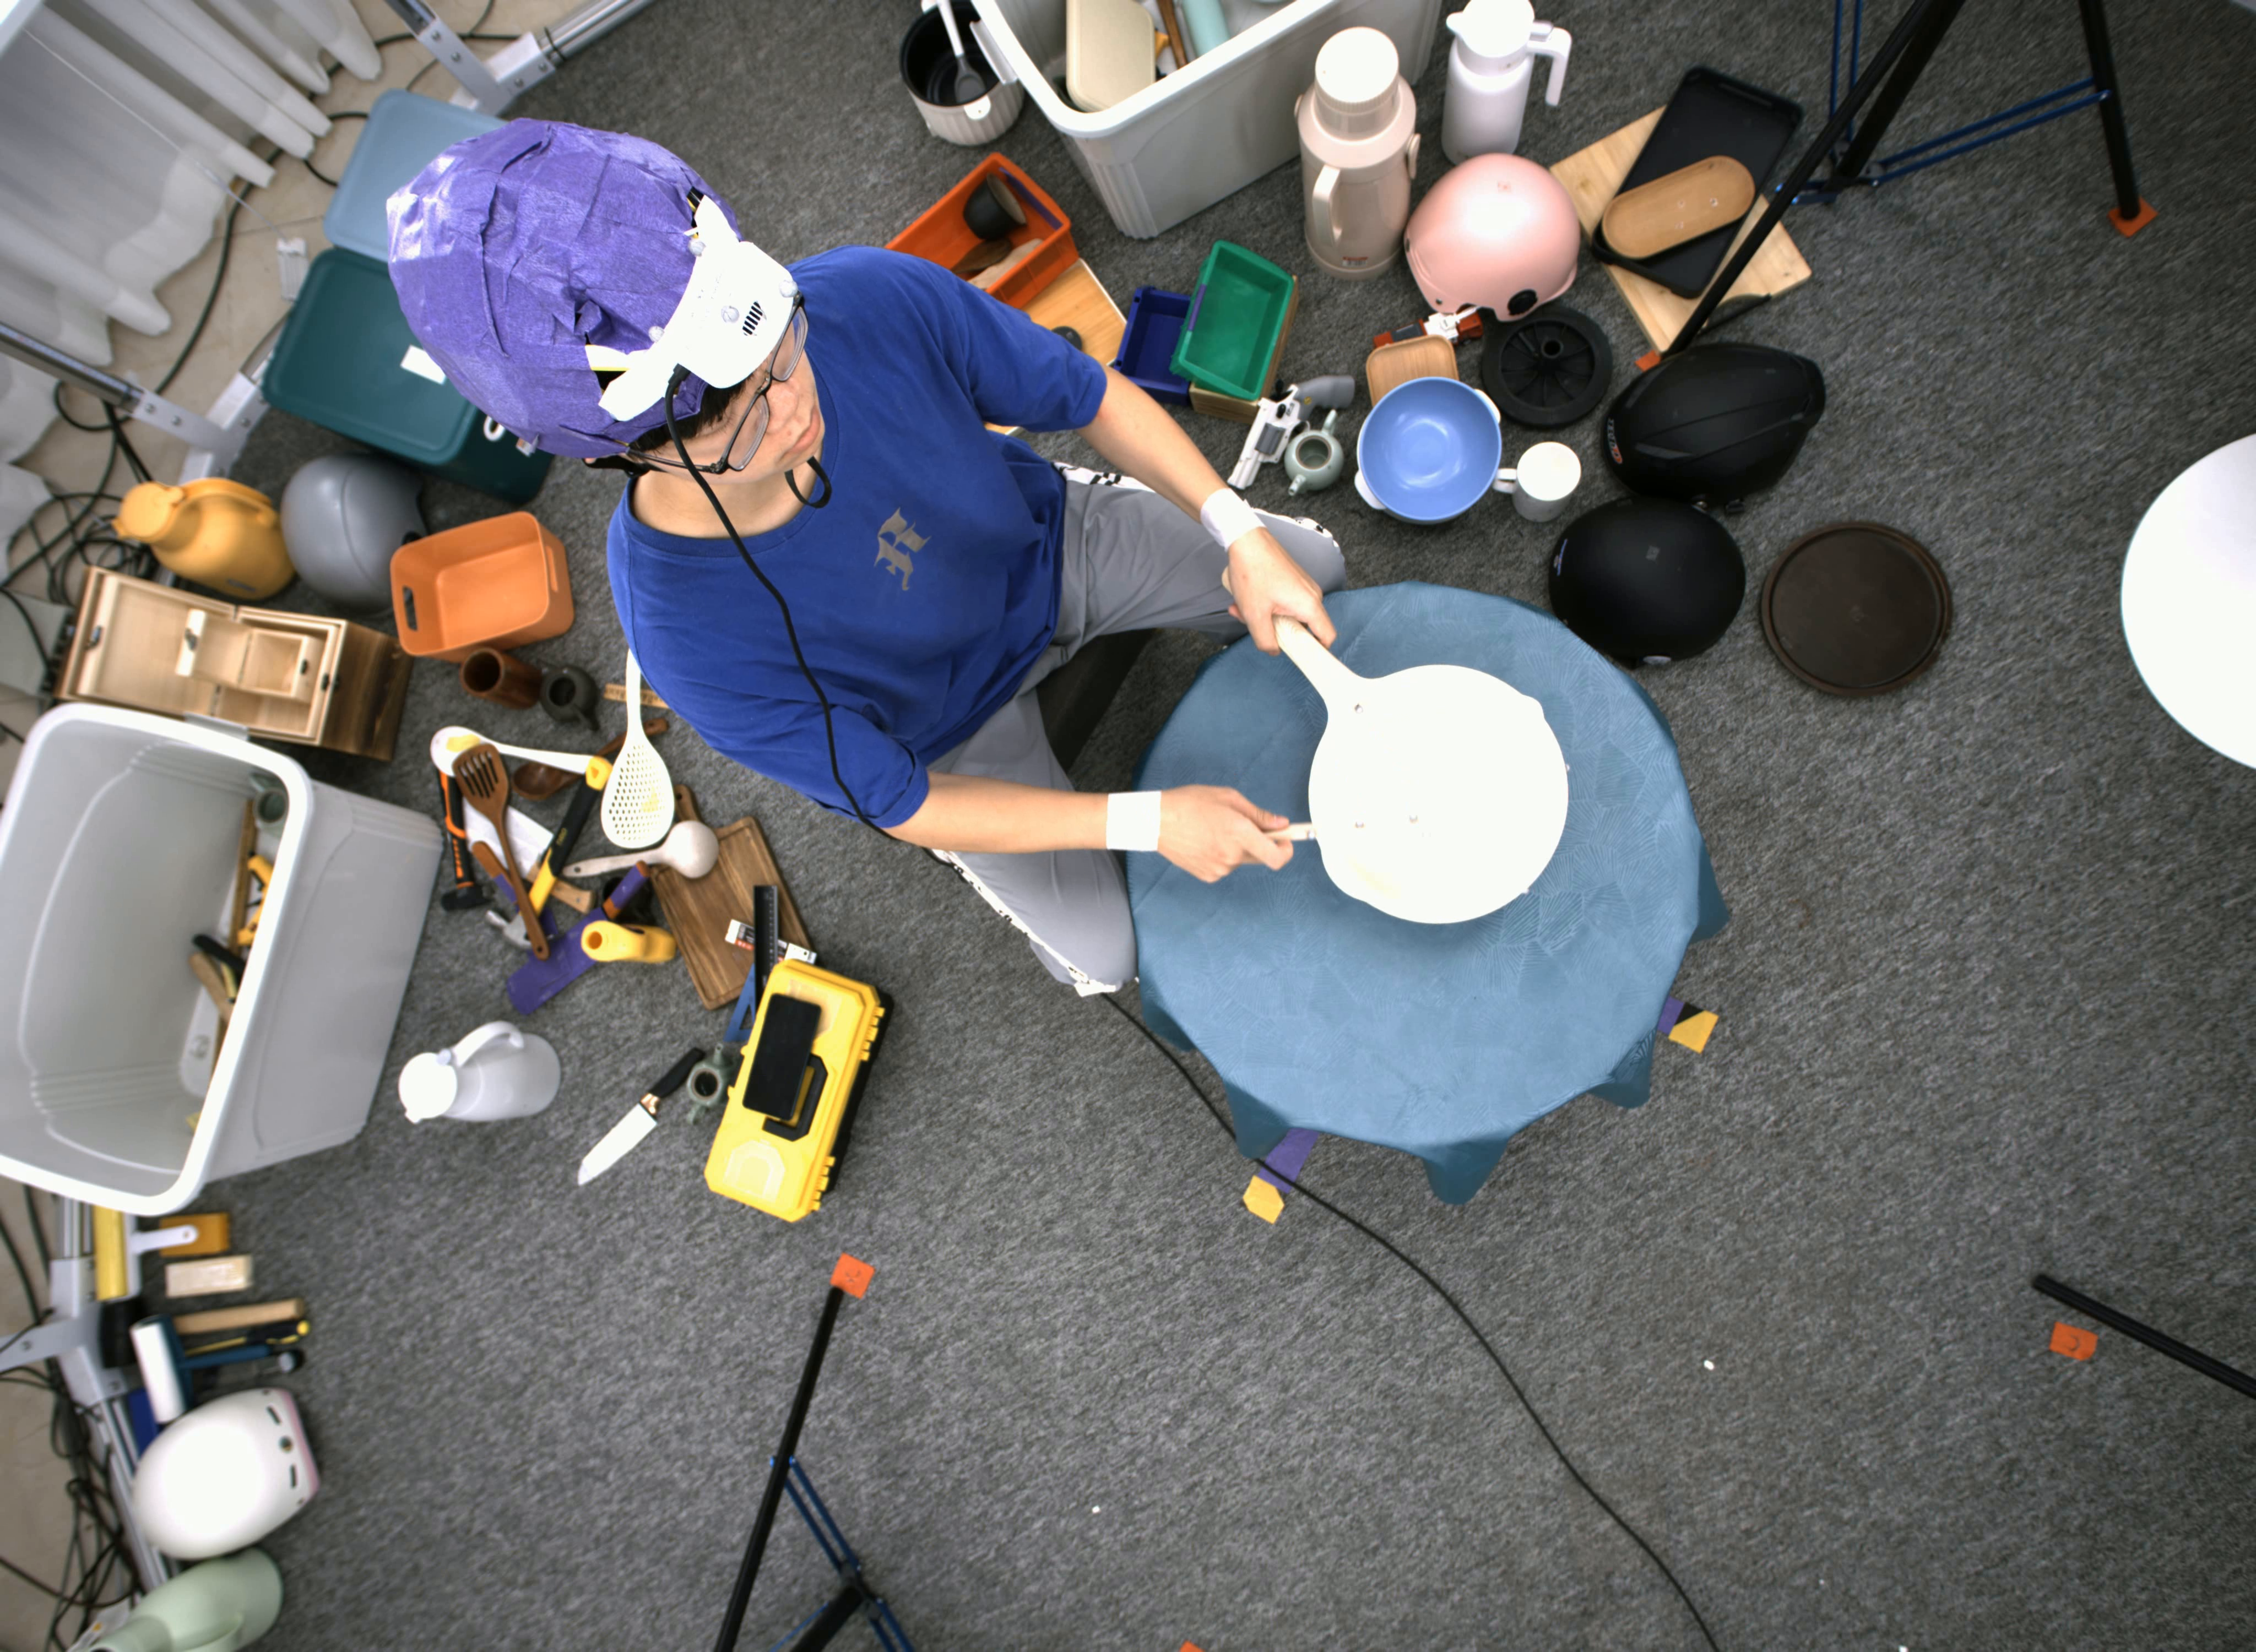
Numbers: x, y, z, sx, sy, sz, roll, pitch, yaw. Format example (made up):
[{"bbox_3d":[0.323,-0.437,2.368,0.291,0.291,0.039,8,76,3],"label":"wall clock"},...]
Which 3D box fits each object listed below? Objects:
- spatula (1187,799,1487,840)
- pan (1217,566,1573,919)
[{"bbox_3d":[0.202,-0.002,1.354,0.294,0.071,0.011,-4,110,13],"label":"spatula"},{"bbox_3d":[0.255,-0.104,1.382,0.267,0.101,0.432,-46,77,20],"label":"pan"}]
